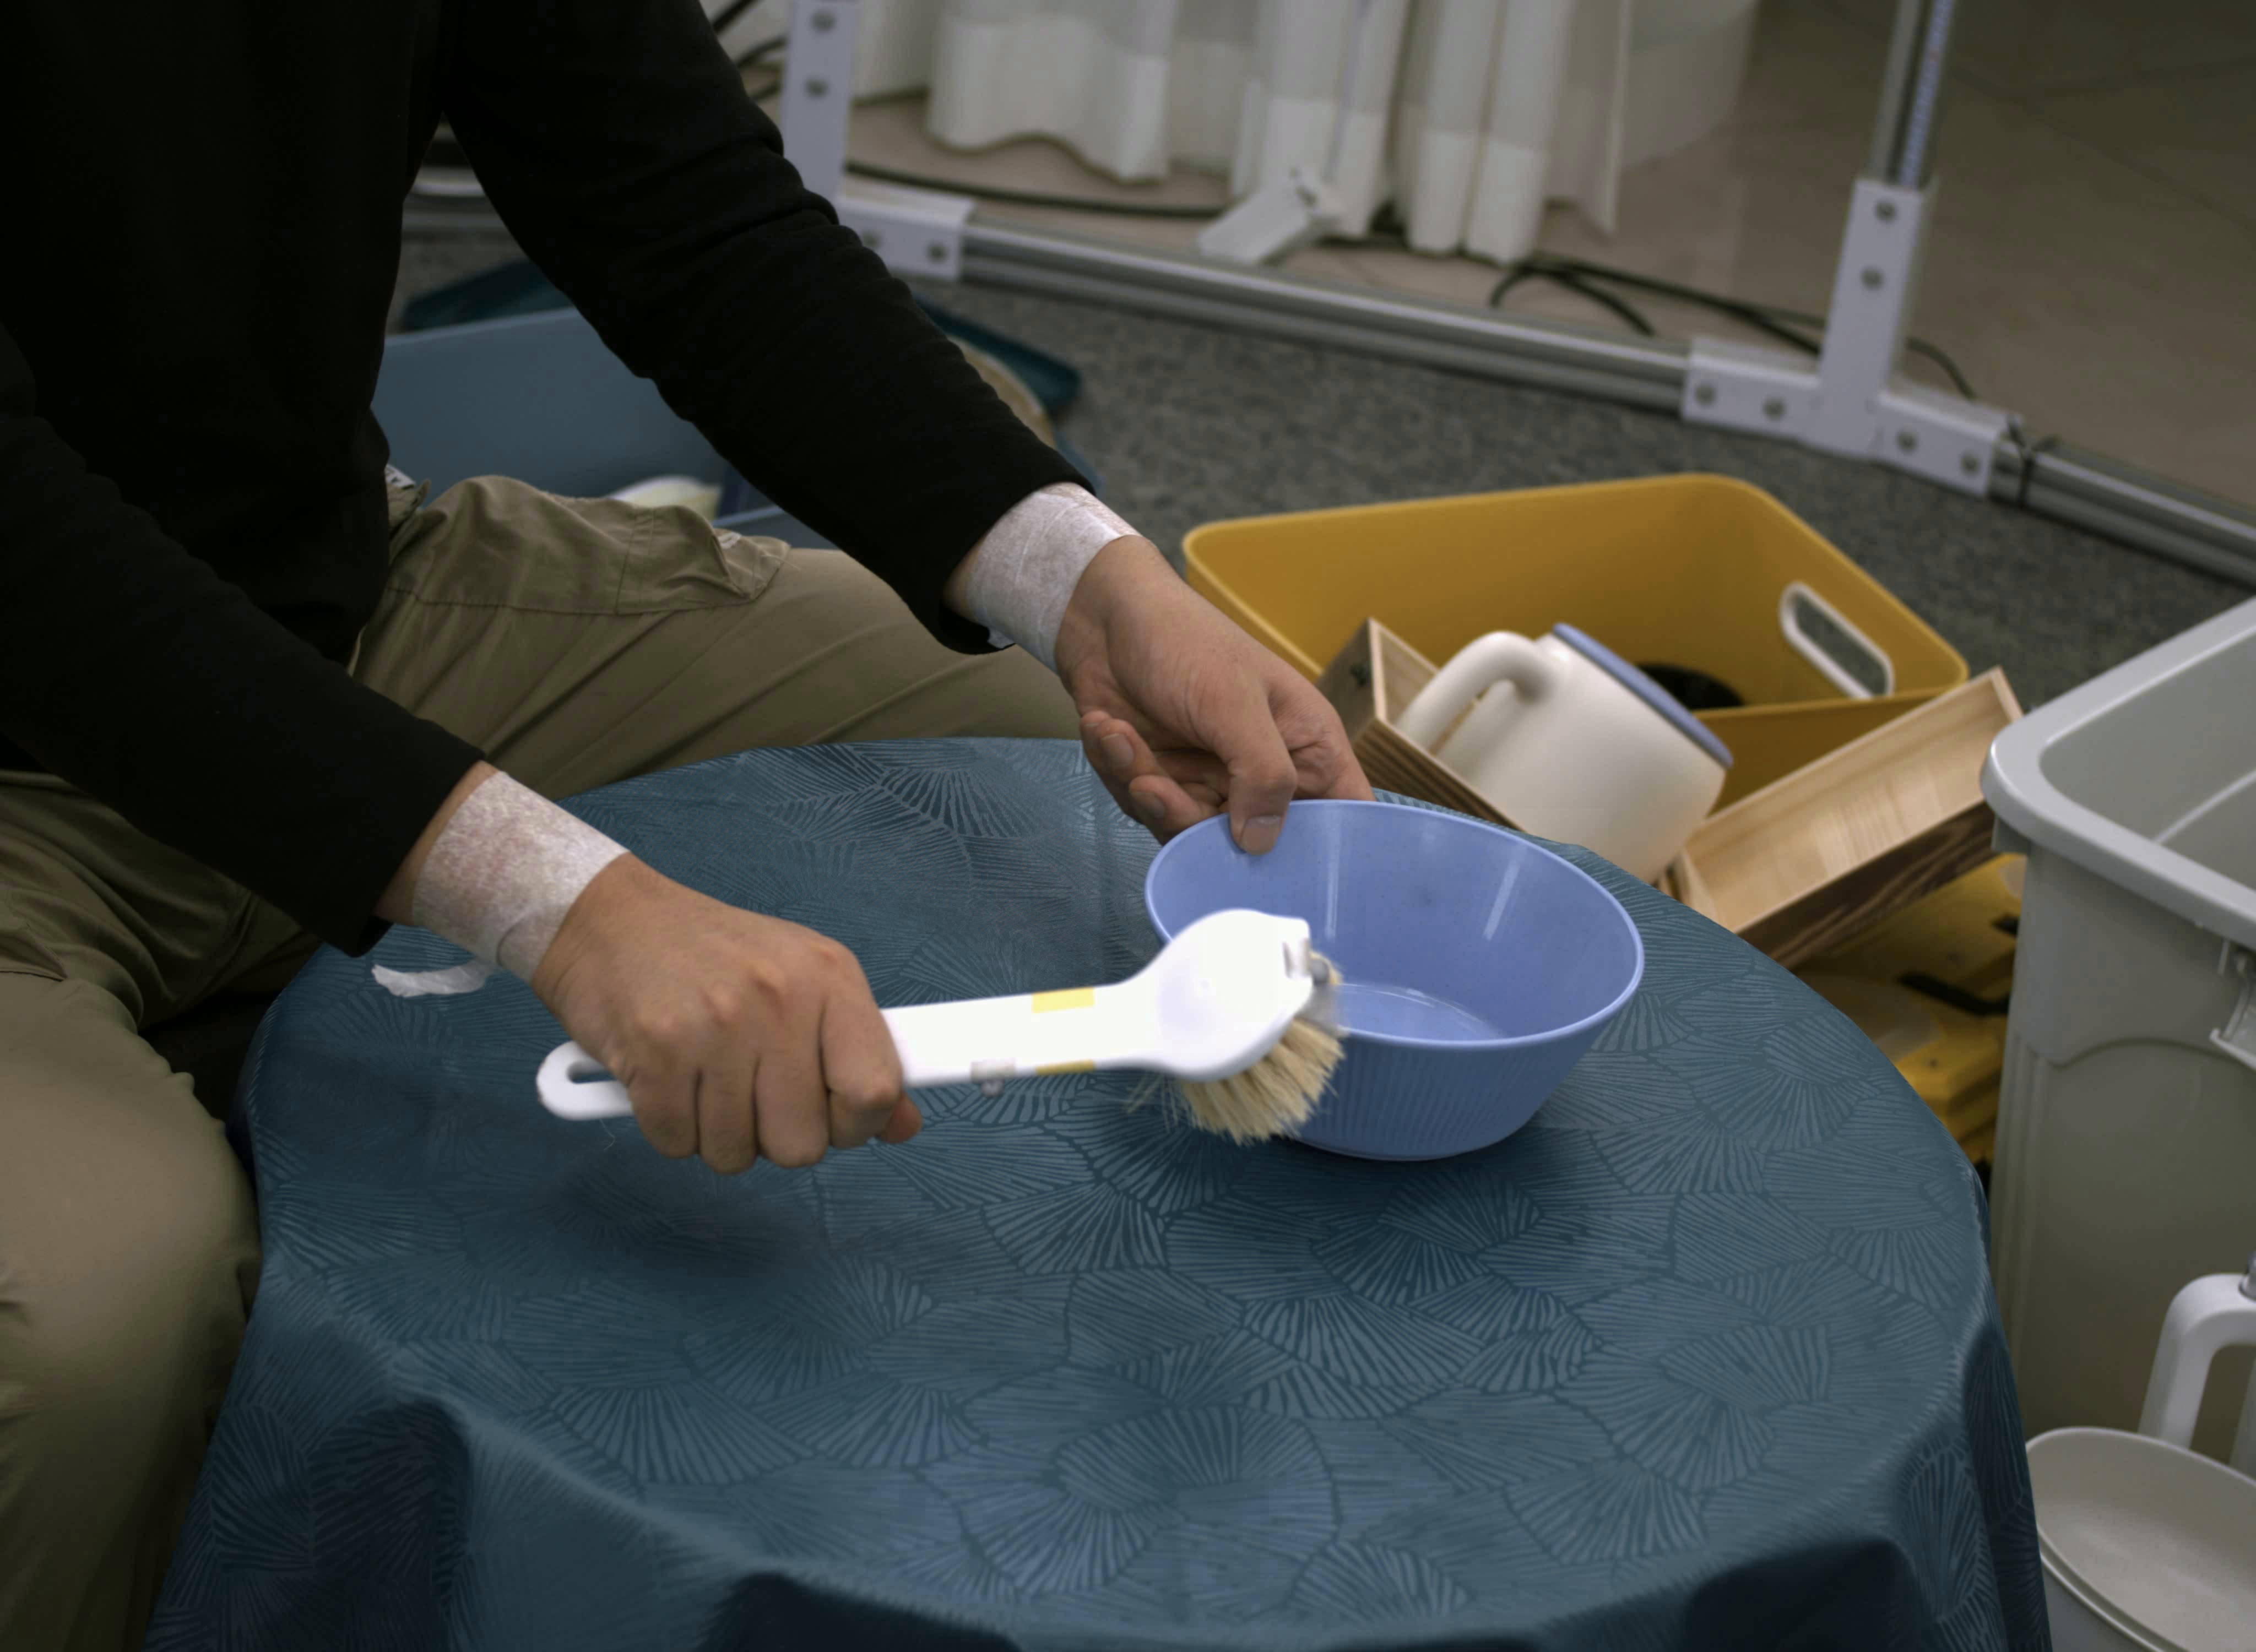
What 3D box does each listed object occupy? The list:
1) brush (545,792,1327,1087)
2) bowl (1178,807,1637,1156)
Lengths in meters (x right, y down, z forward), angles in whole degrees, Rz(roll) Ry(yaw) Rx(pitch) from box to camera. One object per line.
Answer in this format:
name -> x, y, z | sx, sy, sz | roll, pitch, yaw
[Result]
brush -> -0.062, 0.054, 1.762 | 0.265, 0.056, 0.069 | -18, 40, -10
bowl -> 0.087, 0.060, 1.865 | 0.175, 0.070, 0.177 | 6, 26, -3
